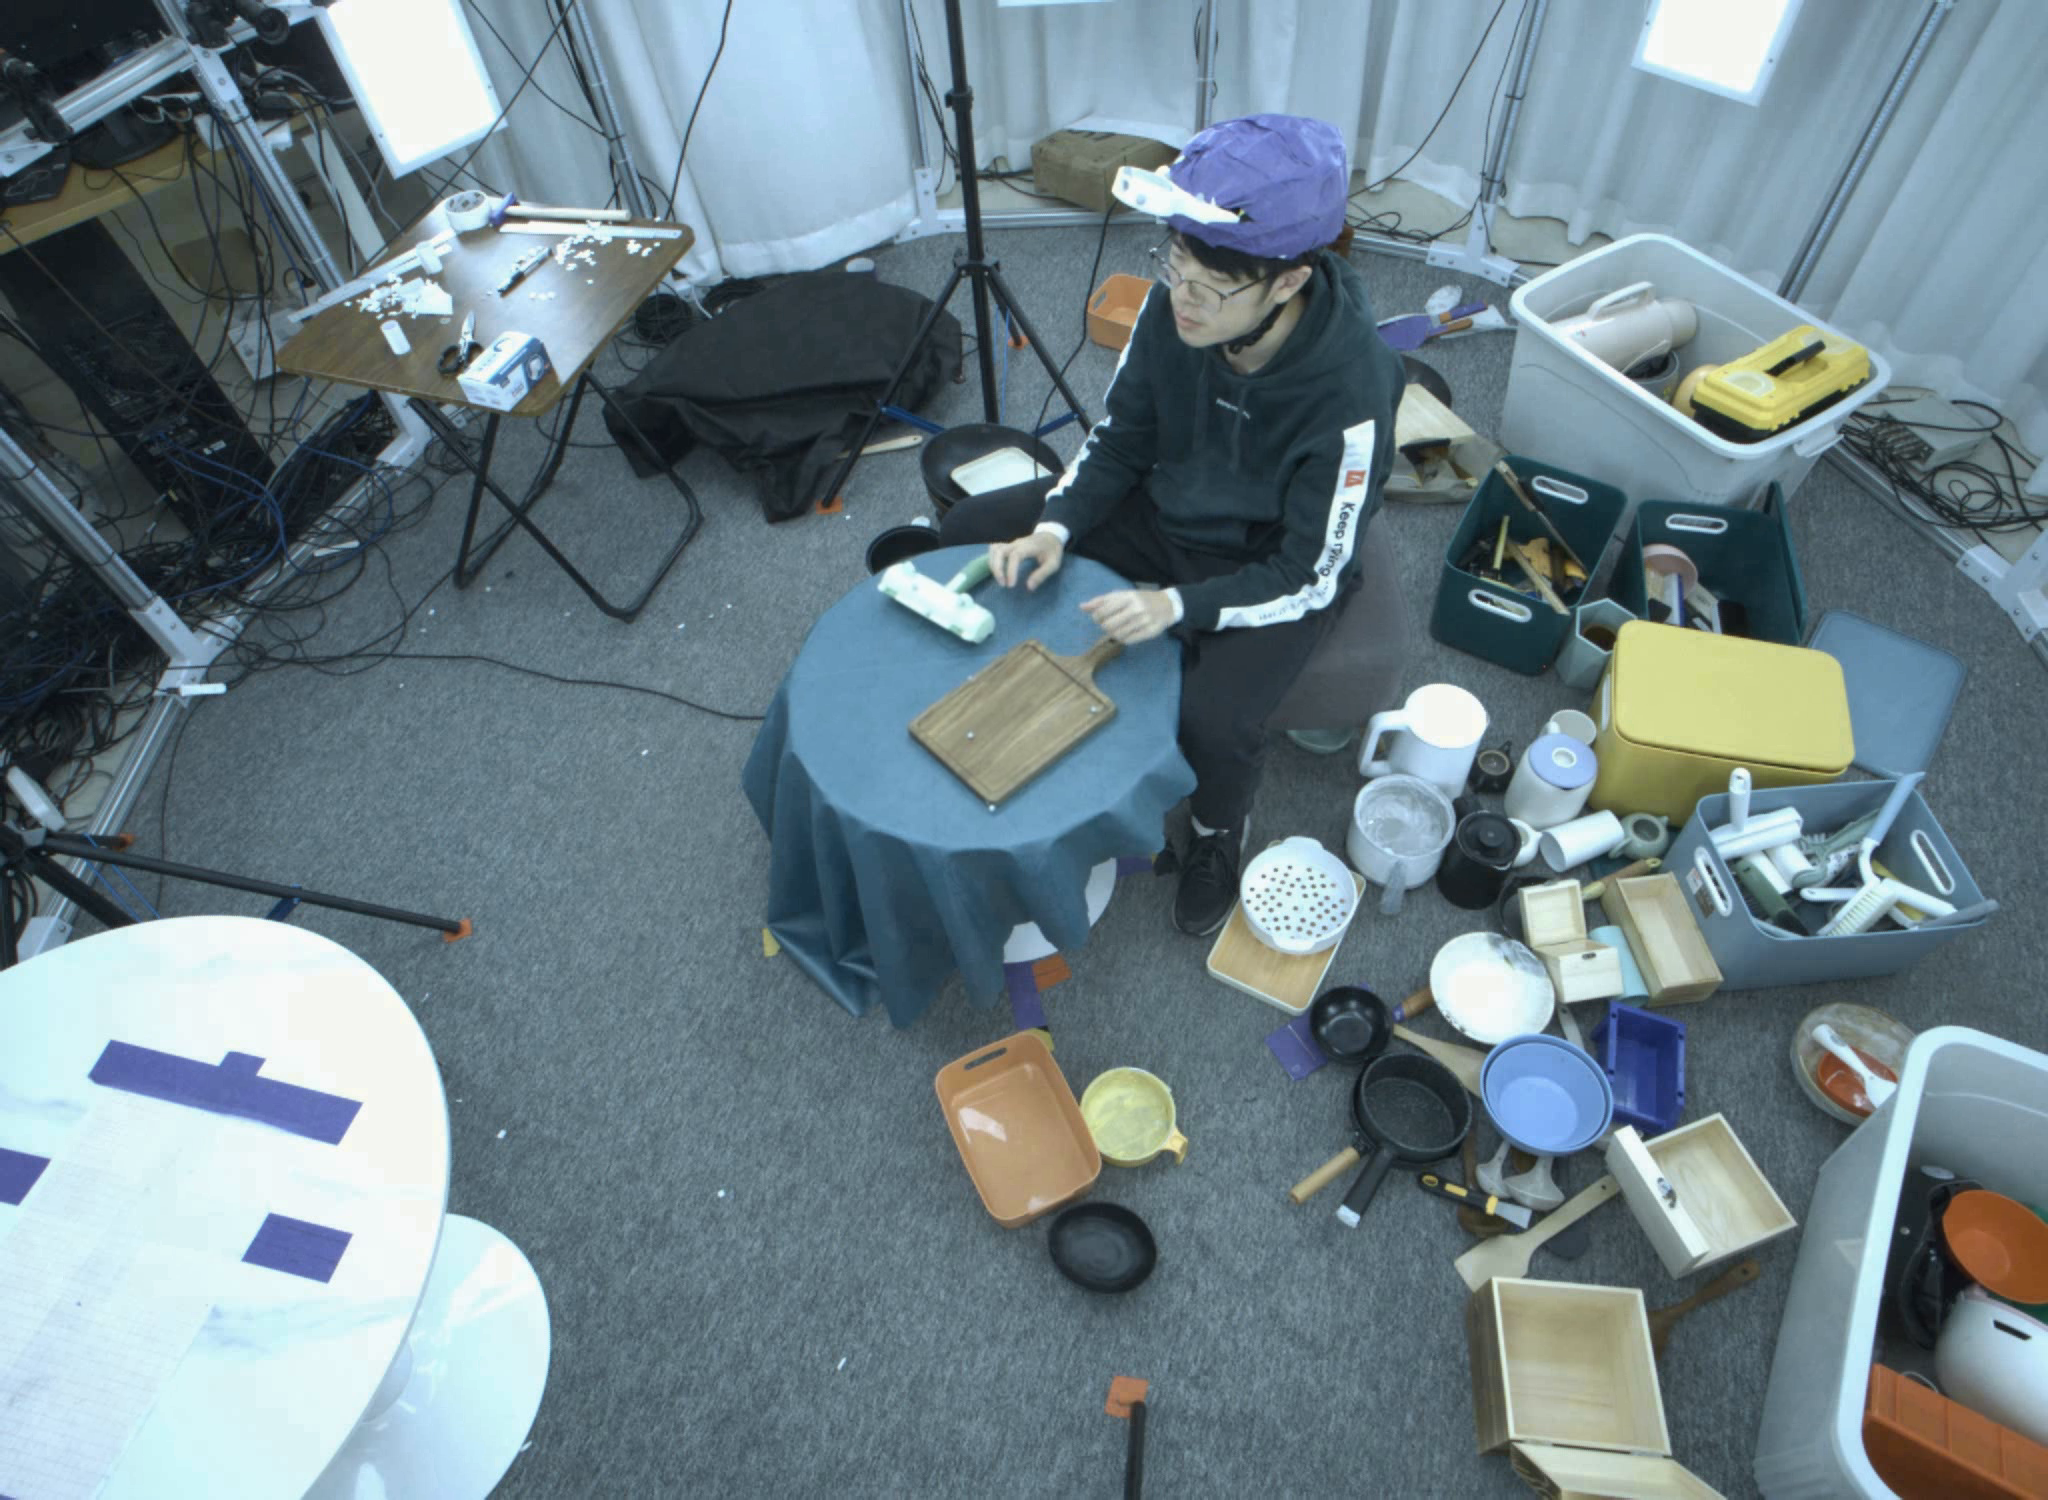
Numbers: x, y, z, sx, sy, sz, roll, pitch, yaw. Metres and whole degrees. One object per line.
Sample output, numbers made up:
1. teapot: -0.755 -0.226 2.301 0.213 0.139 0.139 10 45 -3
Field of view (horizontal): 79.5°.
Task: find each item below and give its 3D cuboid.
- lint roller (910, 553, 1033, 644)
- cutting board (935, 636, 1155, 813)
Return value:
1. lint roller: -0.052 -0.270 1.929 0.195 0.083 0.184 33 66 23
2. cutting board: 0.062 -0.066 1.815 0.355 0.023 0.197 -36 61 -22
